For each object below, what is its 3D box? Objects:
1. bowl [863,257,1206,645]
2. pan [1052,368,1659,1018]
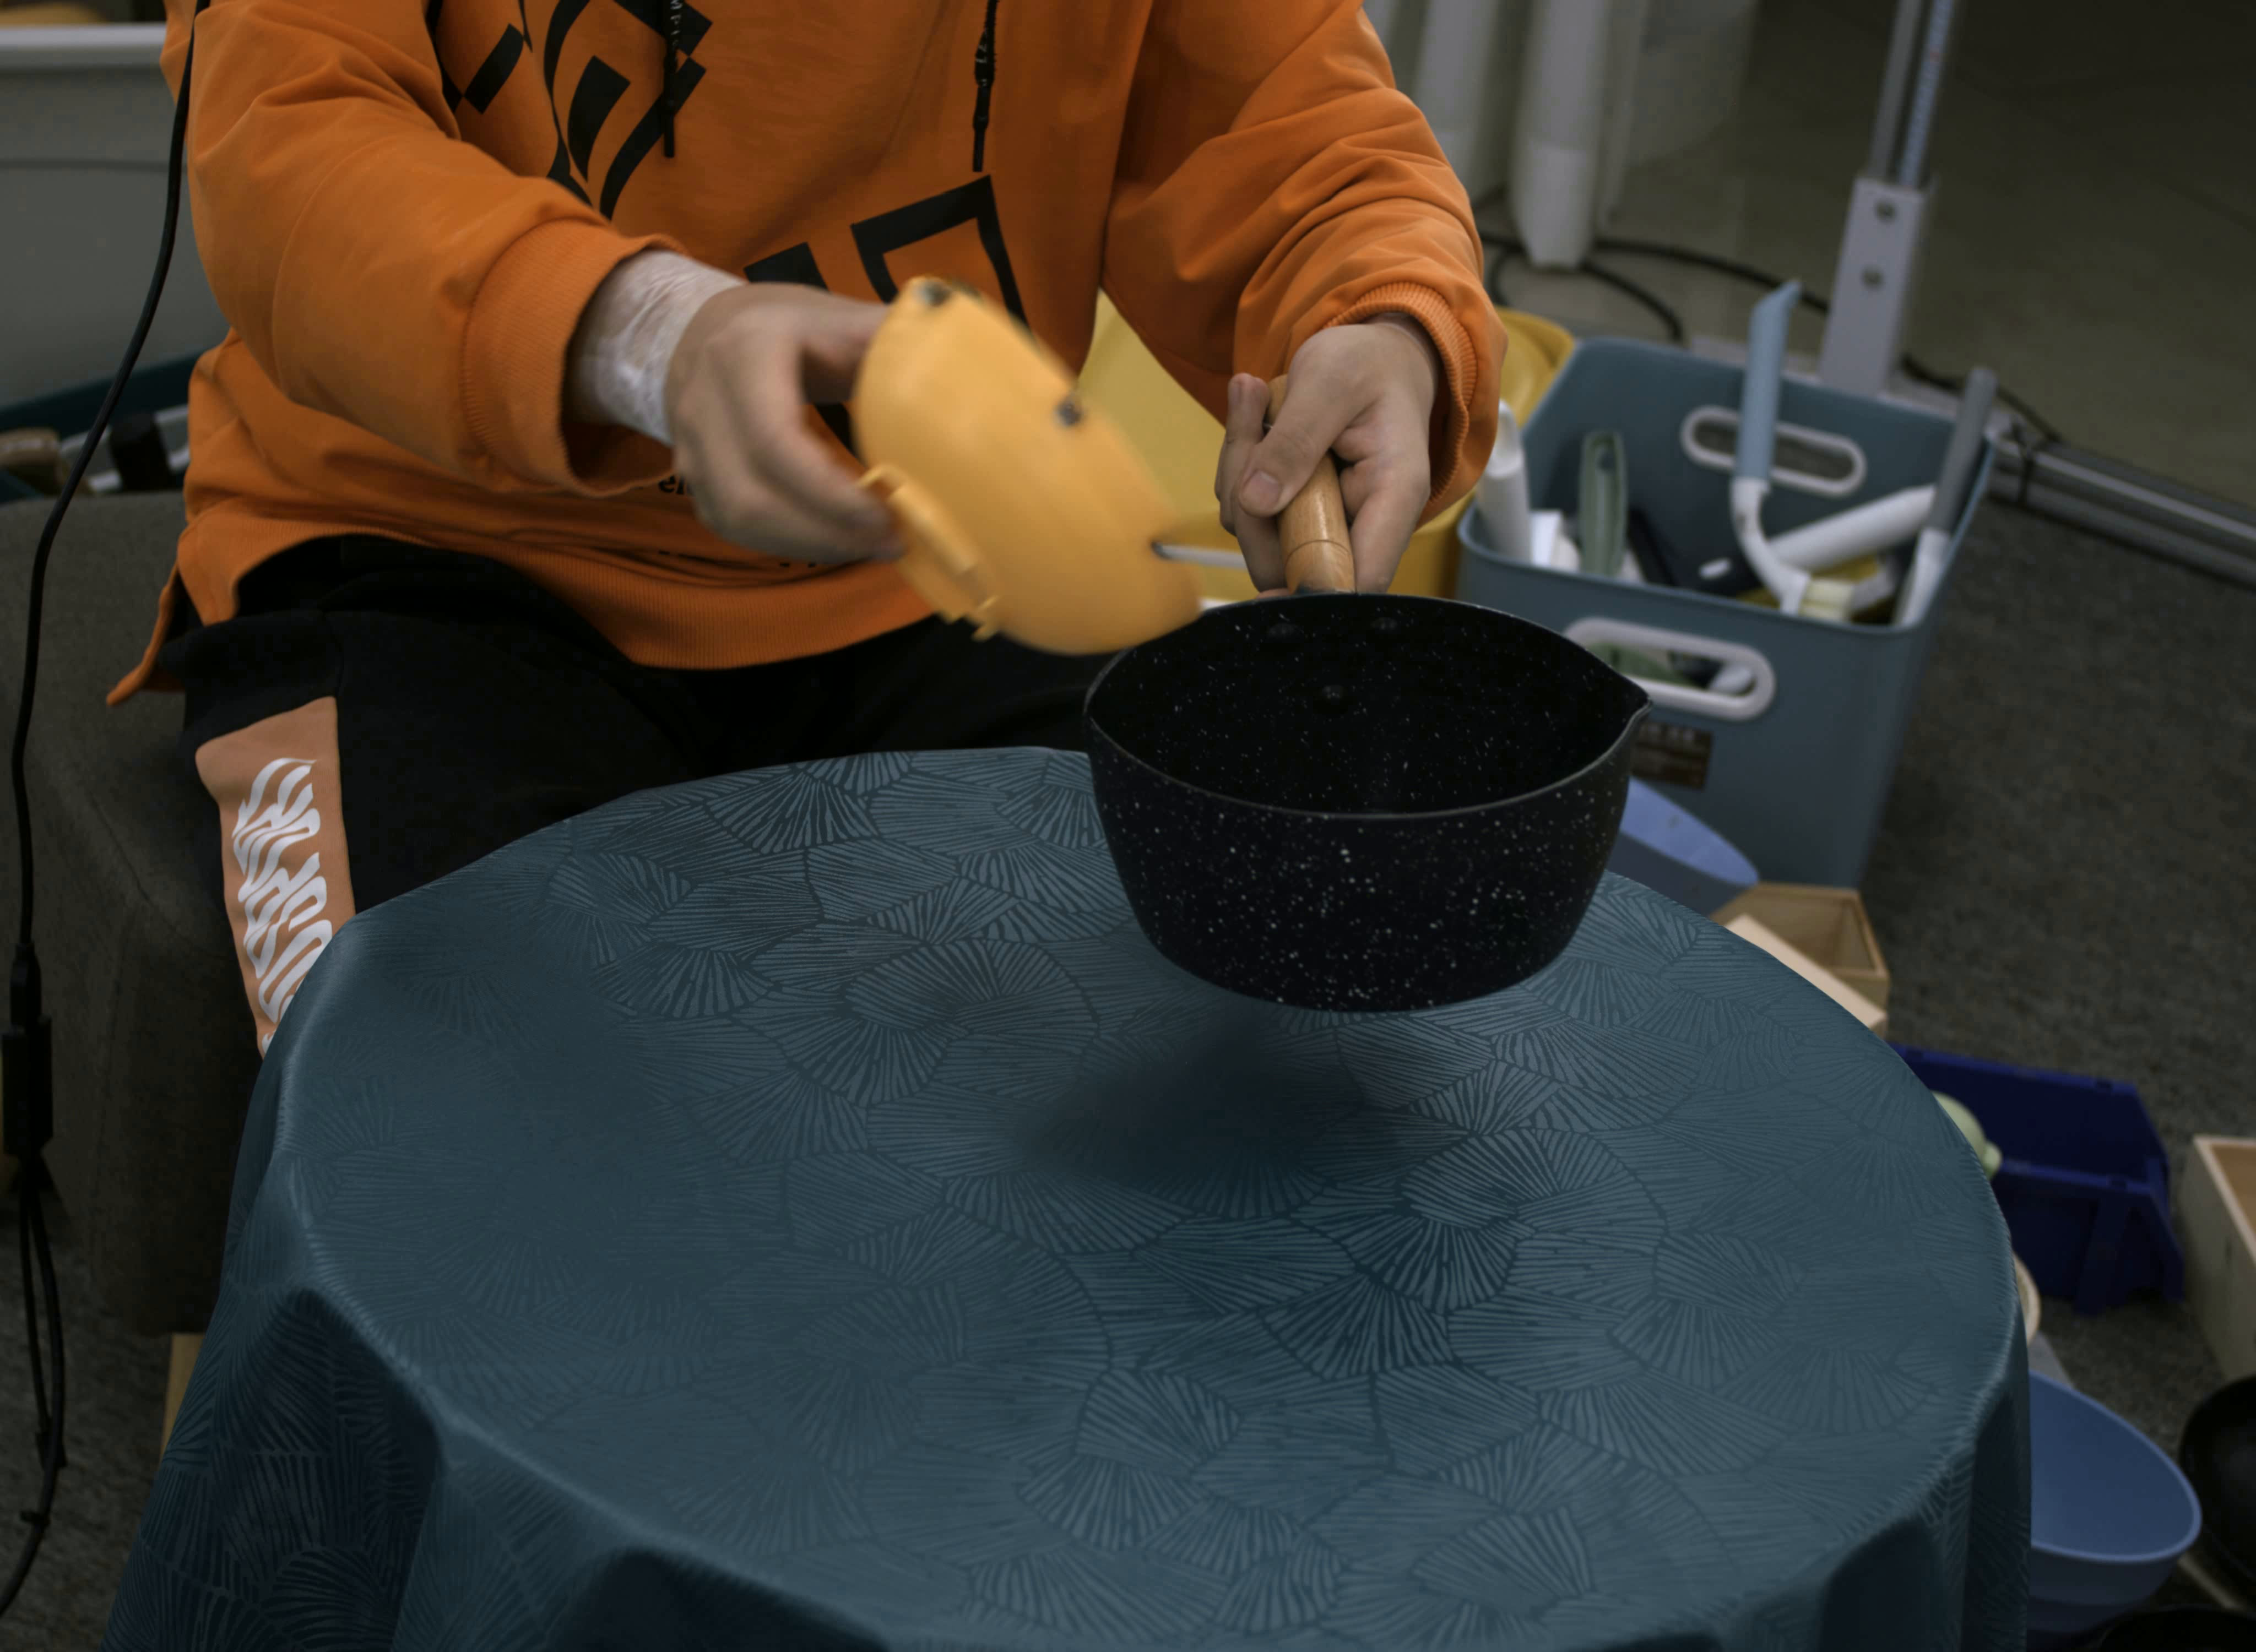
[{"bbox_3d":[-0.043,-0.109,1.729,0.060,0.144,0.146,-39,45,-16],"label":"bowl"},{"bbox_3d":[0.072,-0.051,1.895,0.207,0.108,0.345,-3,27,-4],"label":"pan"}]
